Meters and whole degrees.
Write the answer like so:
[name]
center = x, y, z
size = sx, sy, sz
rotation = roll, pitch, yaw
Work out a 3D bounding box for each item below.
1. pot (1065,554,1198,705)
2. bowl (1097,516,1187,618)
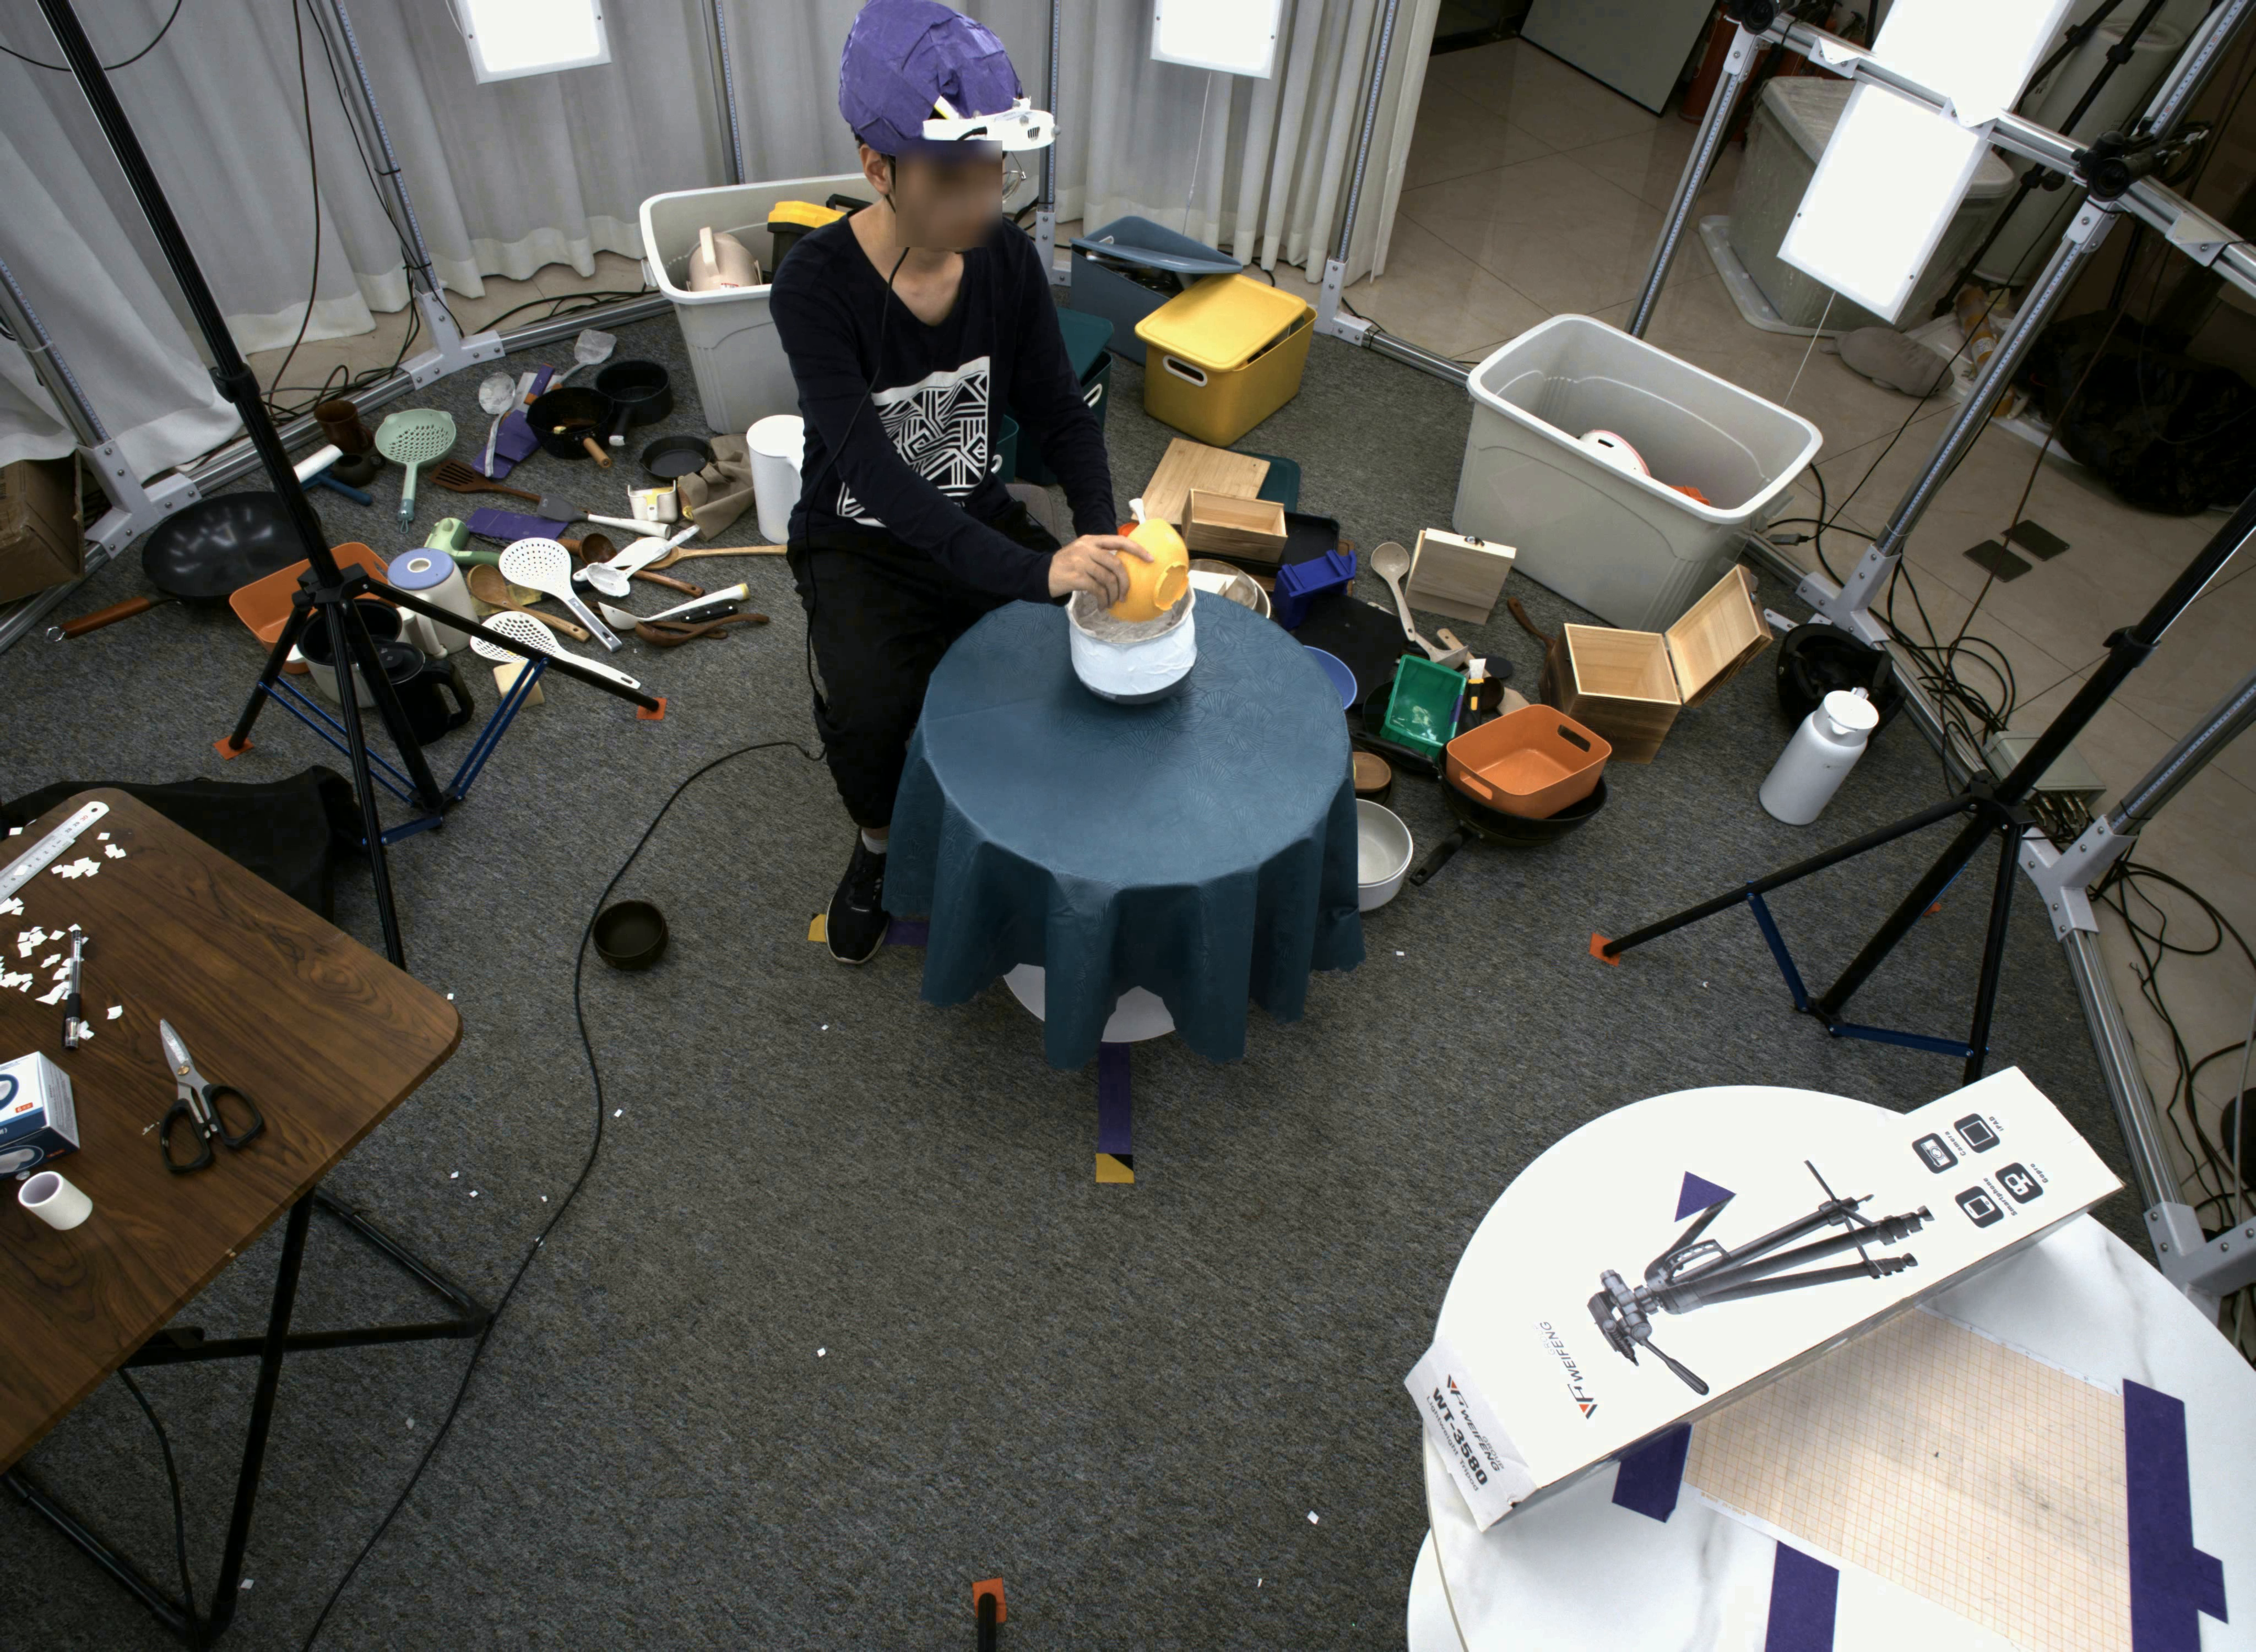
[pot]
center = 0.000, -0.286, 1.811
size = 0.179, 0.133, 0.239
rotation = -15, 47, -7
[bowl]
center = 0.032, -0.326, 1.683
size = 0.146, 0.142, 0.061
rotation = -35, 60, -29
